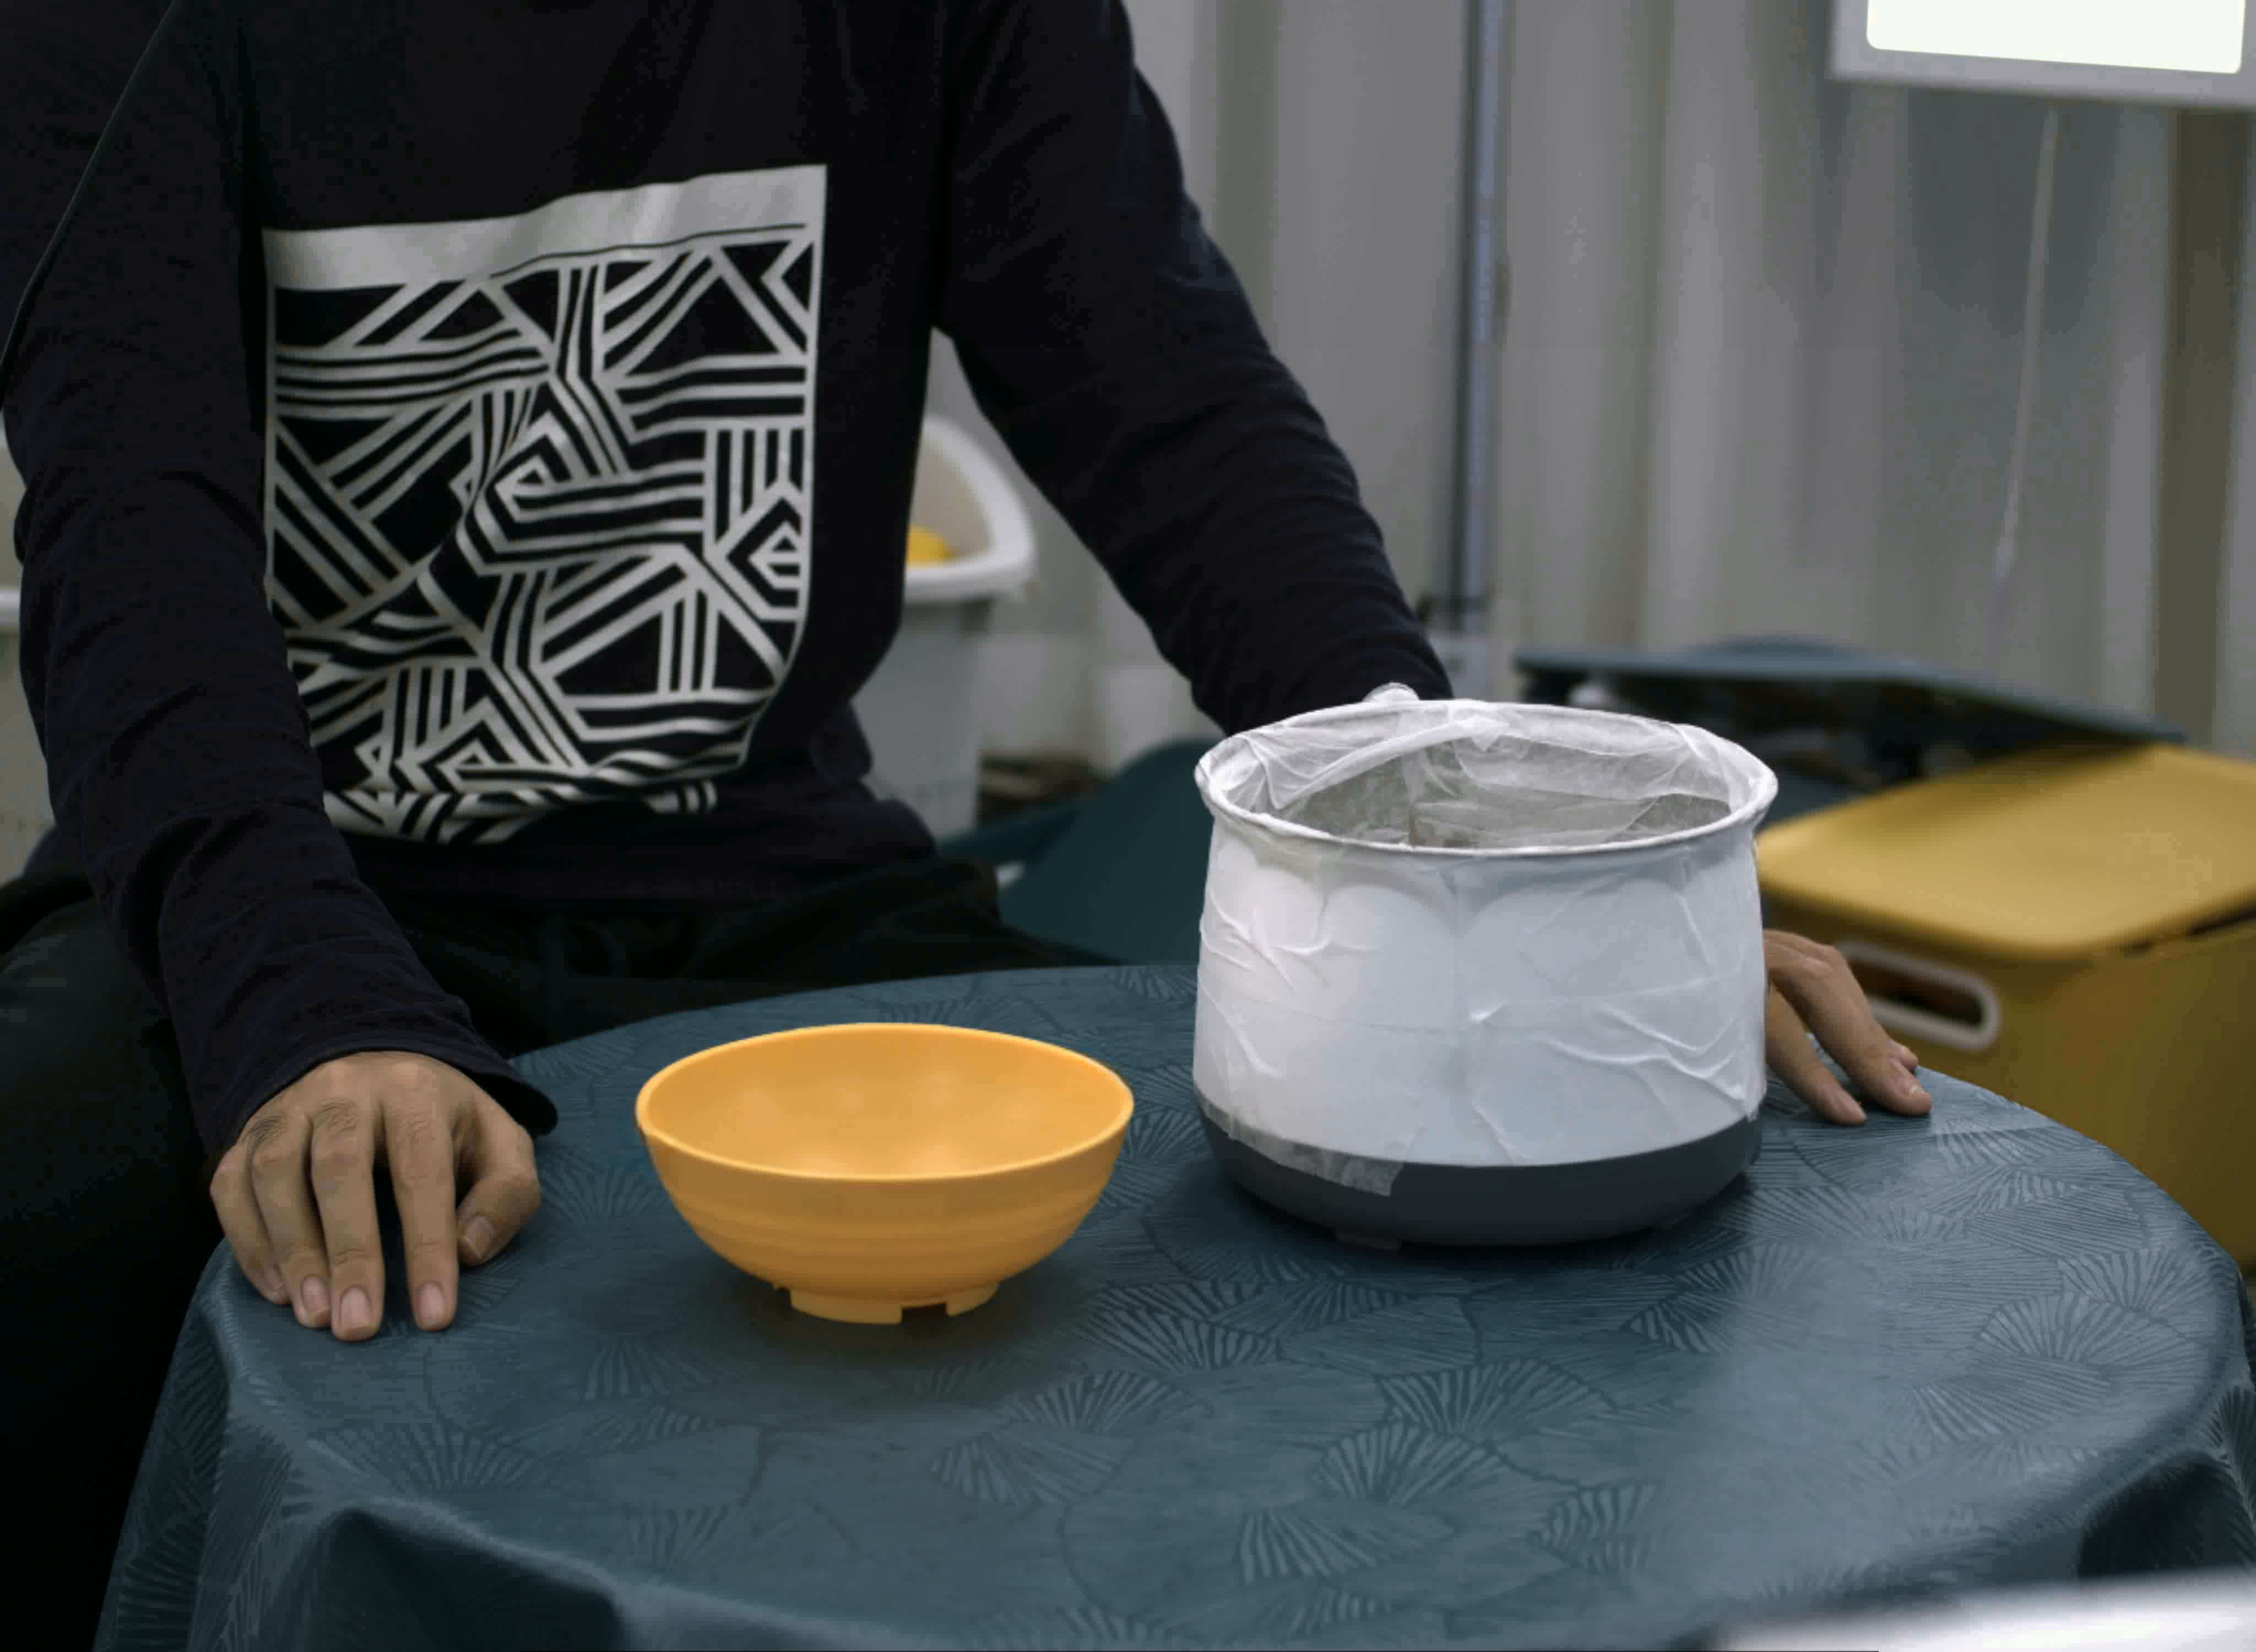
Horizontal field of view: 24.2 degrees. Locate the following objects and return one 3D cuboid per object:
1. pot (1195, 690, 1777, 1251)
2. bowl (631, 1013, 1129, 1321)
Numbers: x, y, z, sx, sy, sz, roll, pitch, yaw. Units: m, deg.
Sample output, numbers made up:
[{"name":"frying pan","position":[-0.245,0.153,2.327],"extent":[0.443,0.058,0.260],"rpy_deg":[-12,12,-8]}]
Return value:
[{"name":"pot","position":[0.102,0.040,1.642],"extent":[0.179,0.137,0.231],"rpy_deg":[-4,15,-14]},{"name":"bowl","position":[-0.073,0.105,1.533],"extent":[0.145,0.060,0.144],"rpy_deg":[2,16,0]}]
